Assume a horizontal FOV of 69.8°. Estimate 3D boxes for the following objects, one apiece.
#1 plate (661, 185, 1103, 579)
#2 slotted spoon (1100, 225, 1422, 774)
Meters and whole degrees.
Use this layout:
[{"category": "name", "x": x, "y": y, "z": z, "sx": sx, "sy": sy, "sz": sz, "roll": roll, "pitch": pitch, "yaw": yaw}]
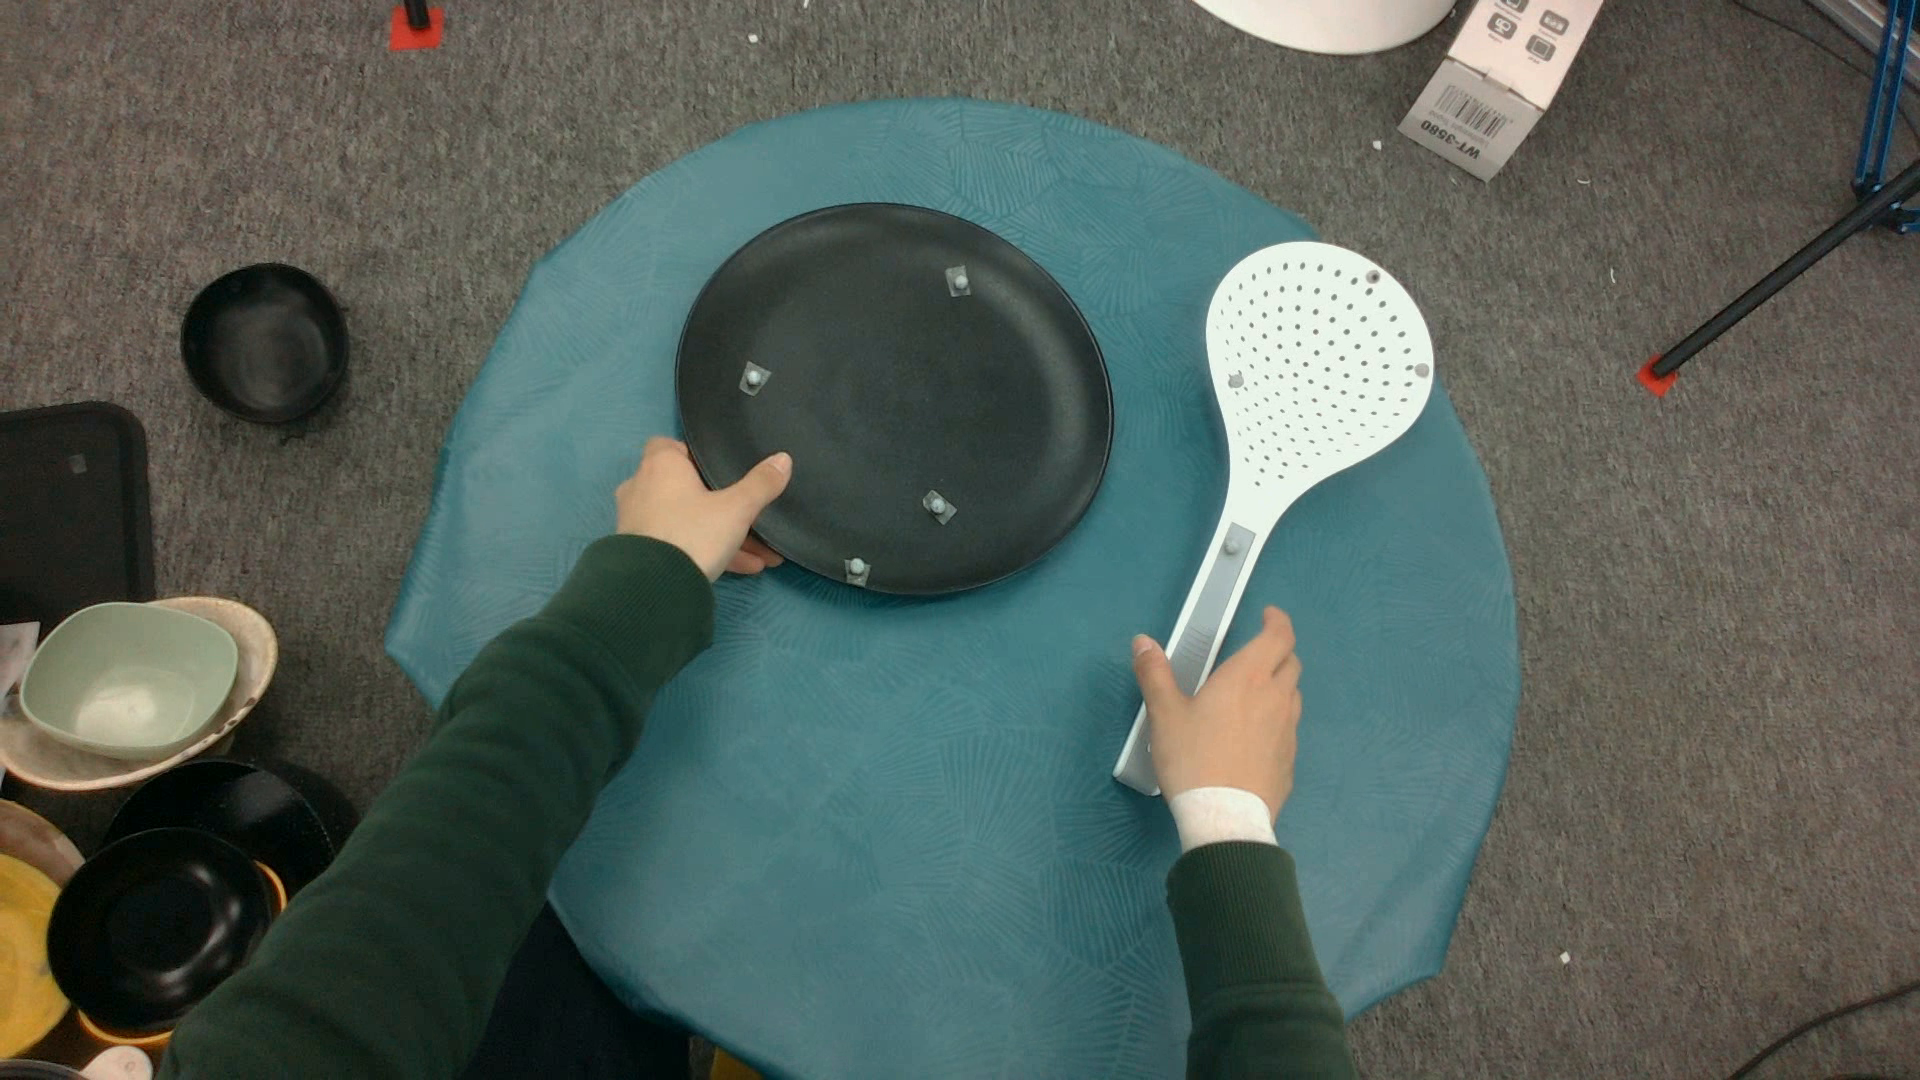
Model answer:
[{"category": "plate", "x": -0.041, "y": -0.089, "z": 0.758, "sx": 0.244, "sy": 0.023, "sz": 0.245, "roll": 5, "pitch": 66, "yaw": -11}, {"category": "slotted spoon", "x": 0.157, "y": -0.030, "z": 0.767, "sx": 0.136, "sy": 0.045, "sz": 0.351, "roll": 26, "pitch": 65, "yaw": 1}]
